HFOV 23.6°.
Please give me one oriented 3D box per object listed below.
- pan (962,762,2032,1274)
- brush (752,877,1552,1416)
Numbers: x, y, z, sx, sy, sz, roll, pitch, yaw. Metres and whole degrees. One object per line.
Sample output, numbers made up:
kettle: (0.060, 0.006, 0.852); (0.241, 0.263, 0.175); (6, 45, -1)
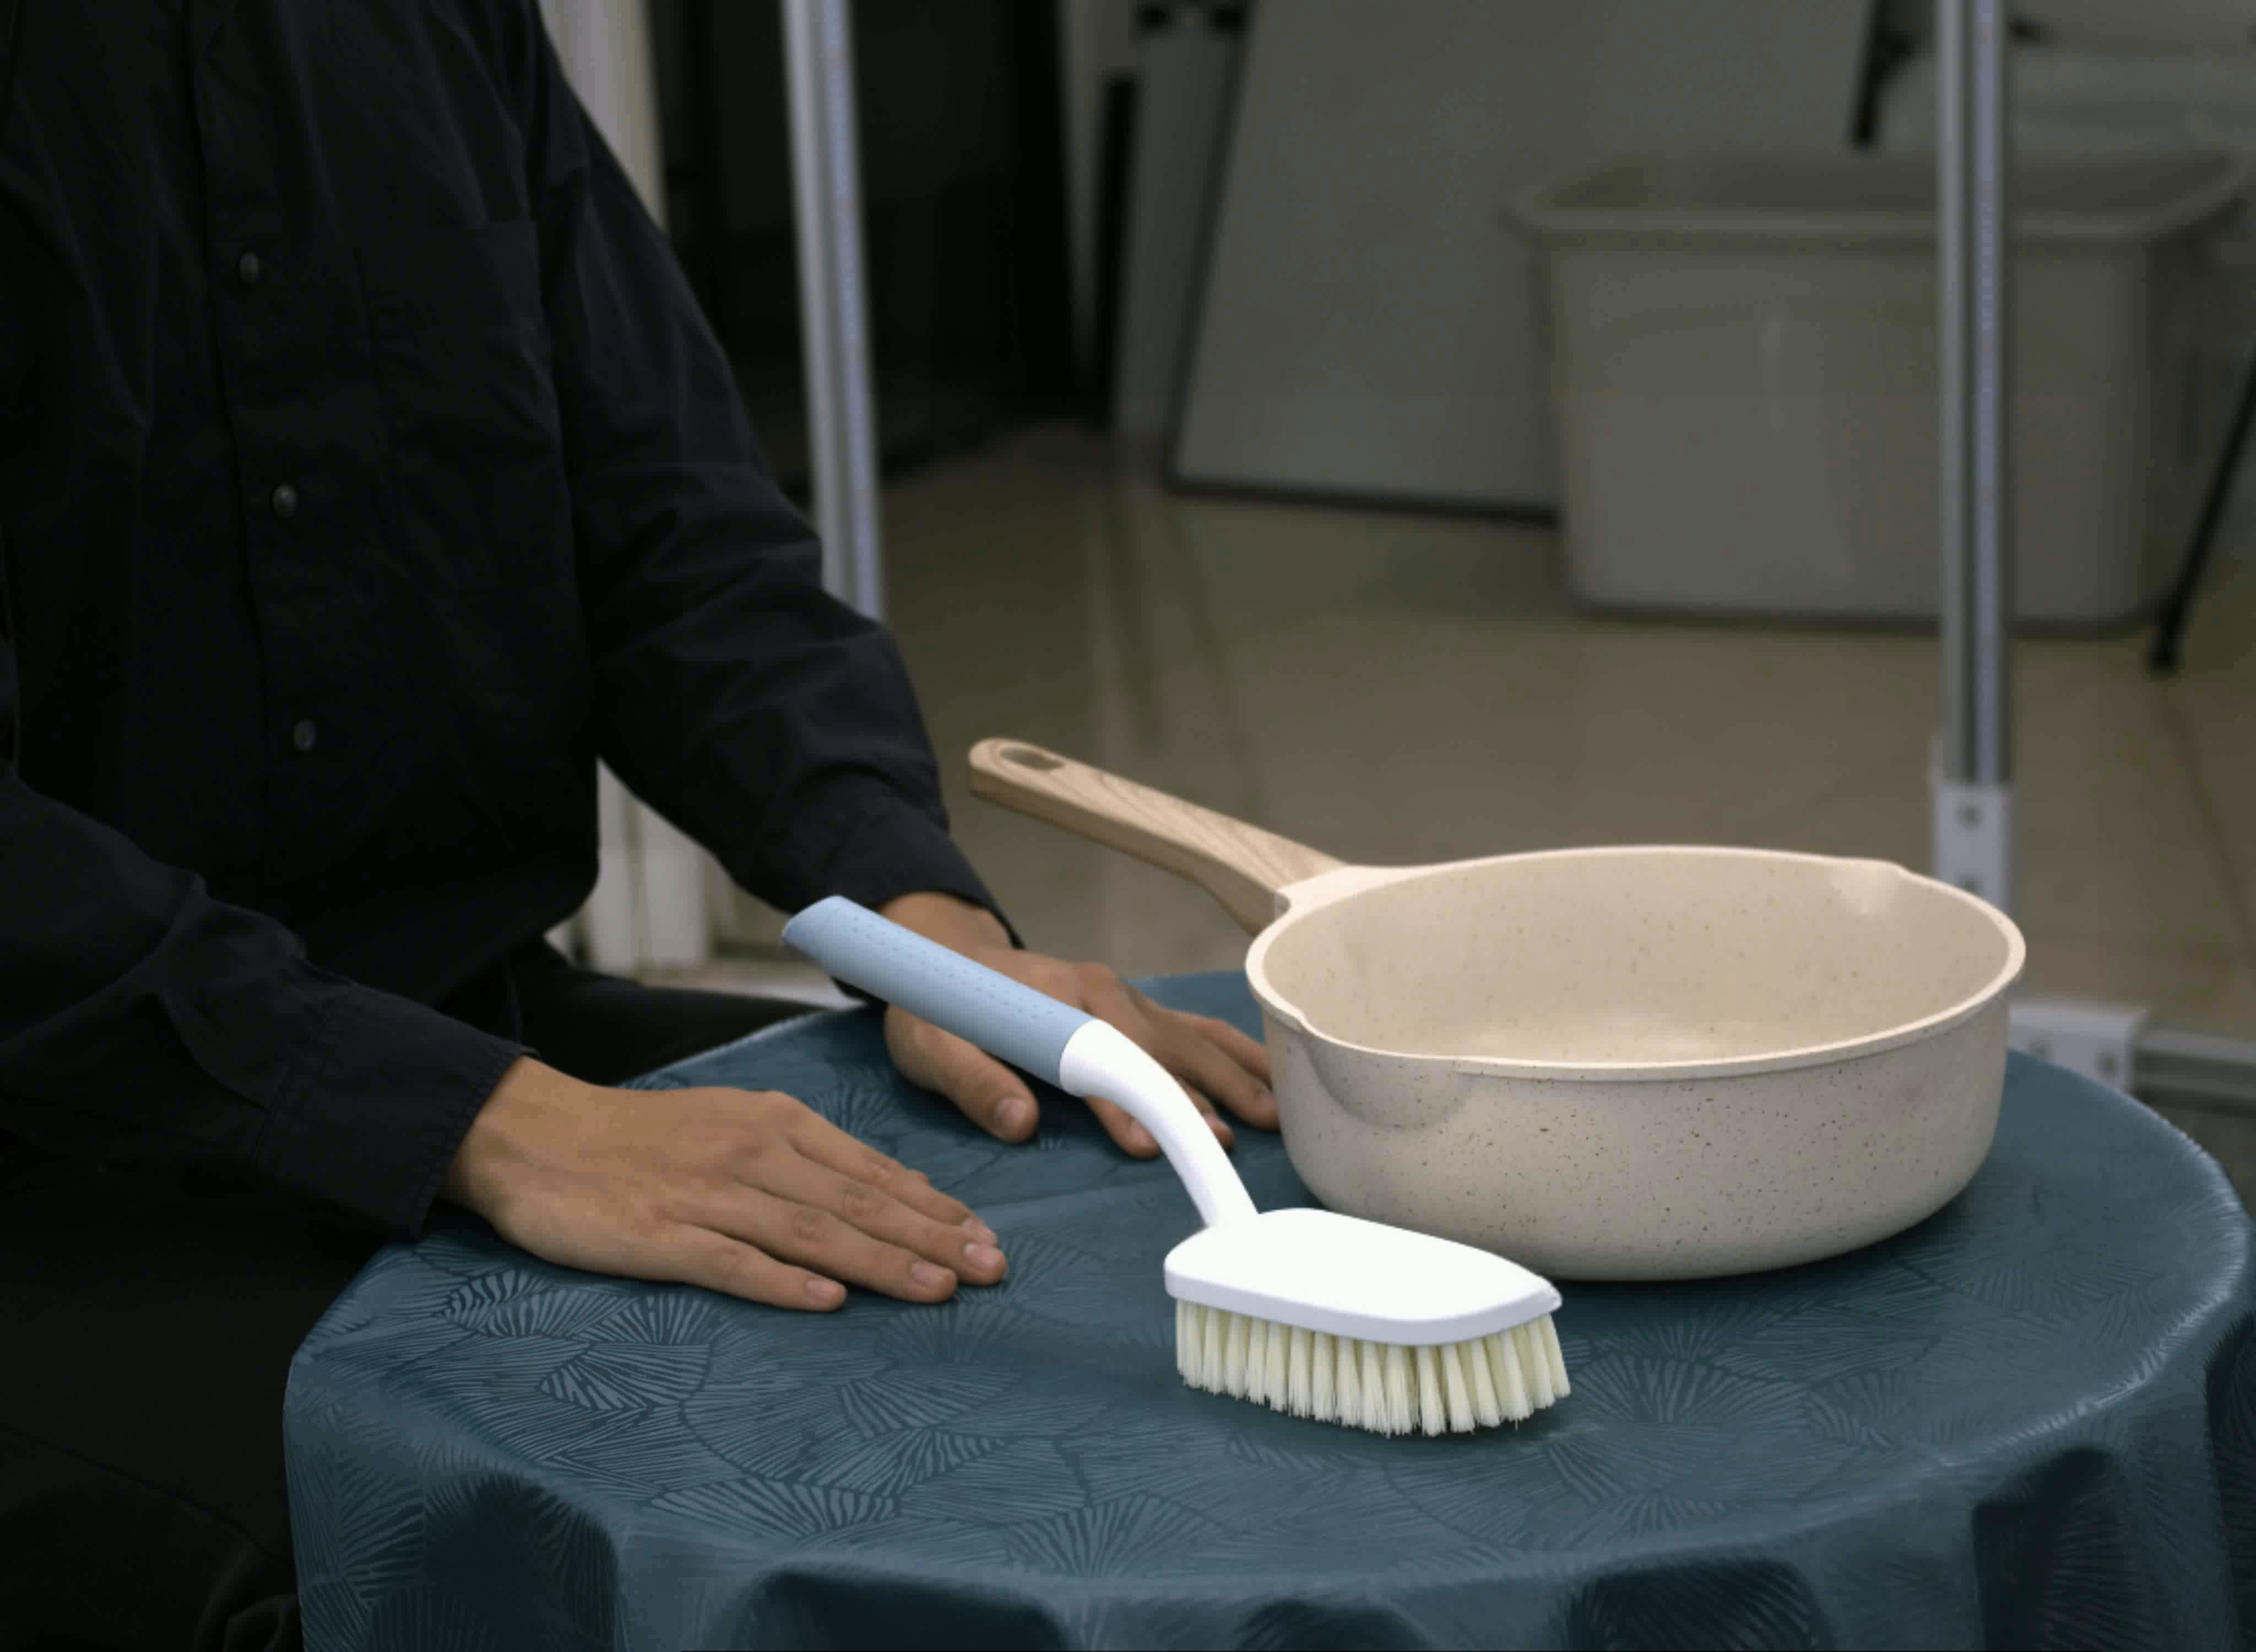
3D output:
pan: (0.102, 0.056, 1.799); (0.258, 0.103, 0.439); (-17, 19, -41)
brush: (0.001, 0.110, 1.639); (0.328, 0.085, 0.082); (24, -9, 39)
